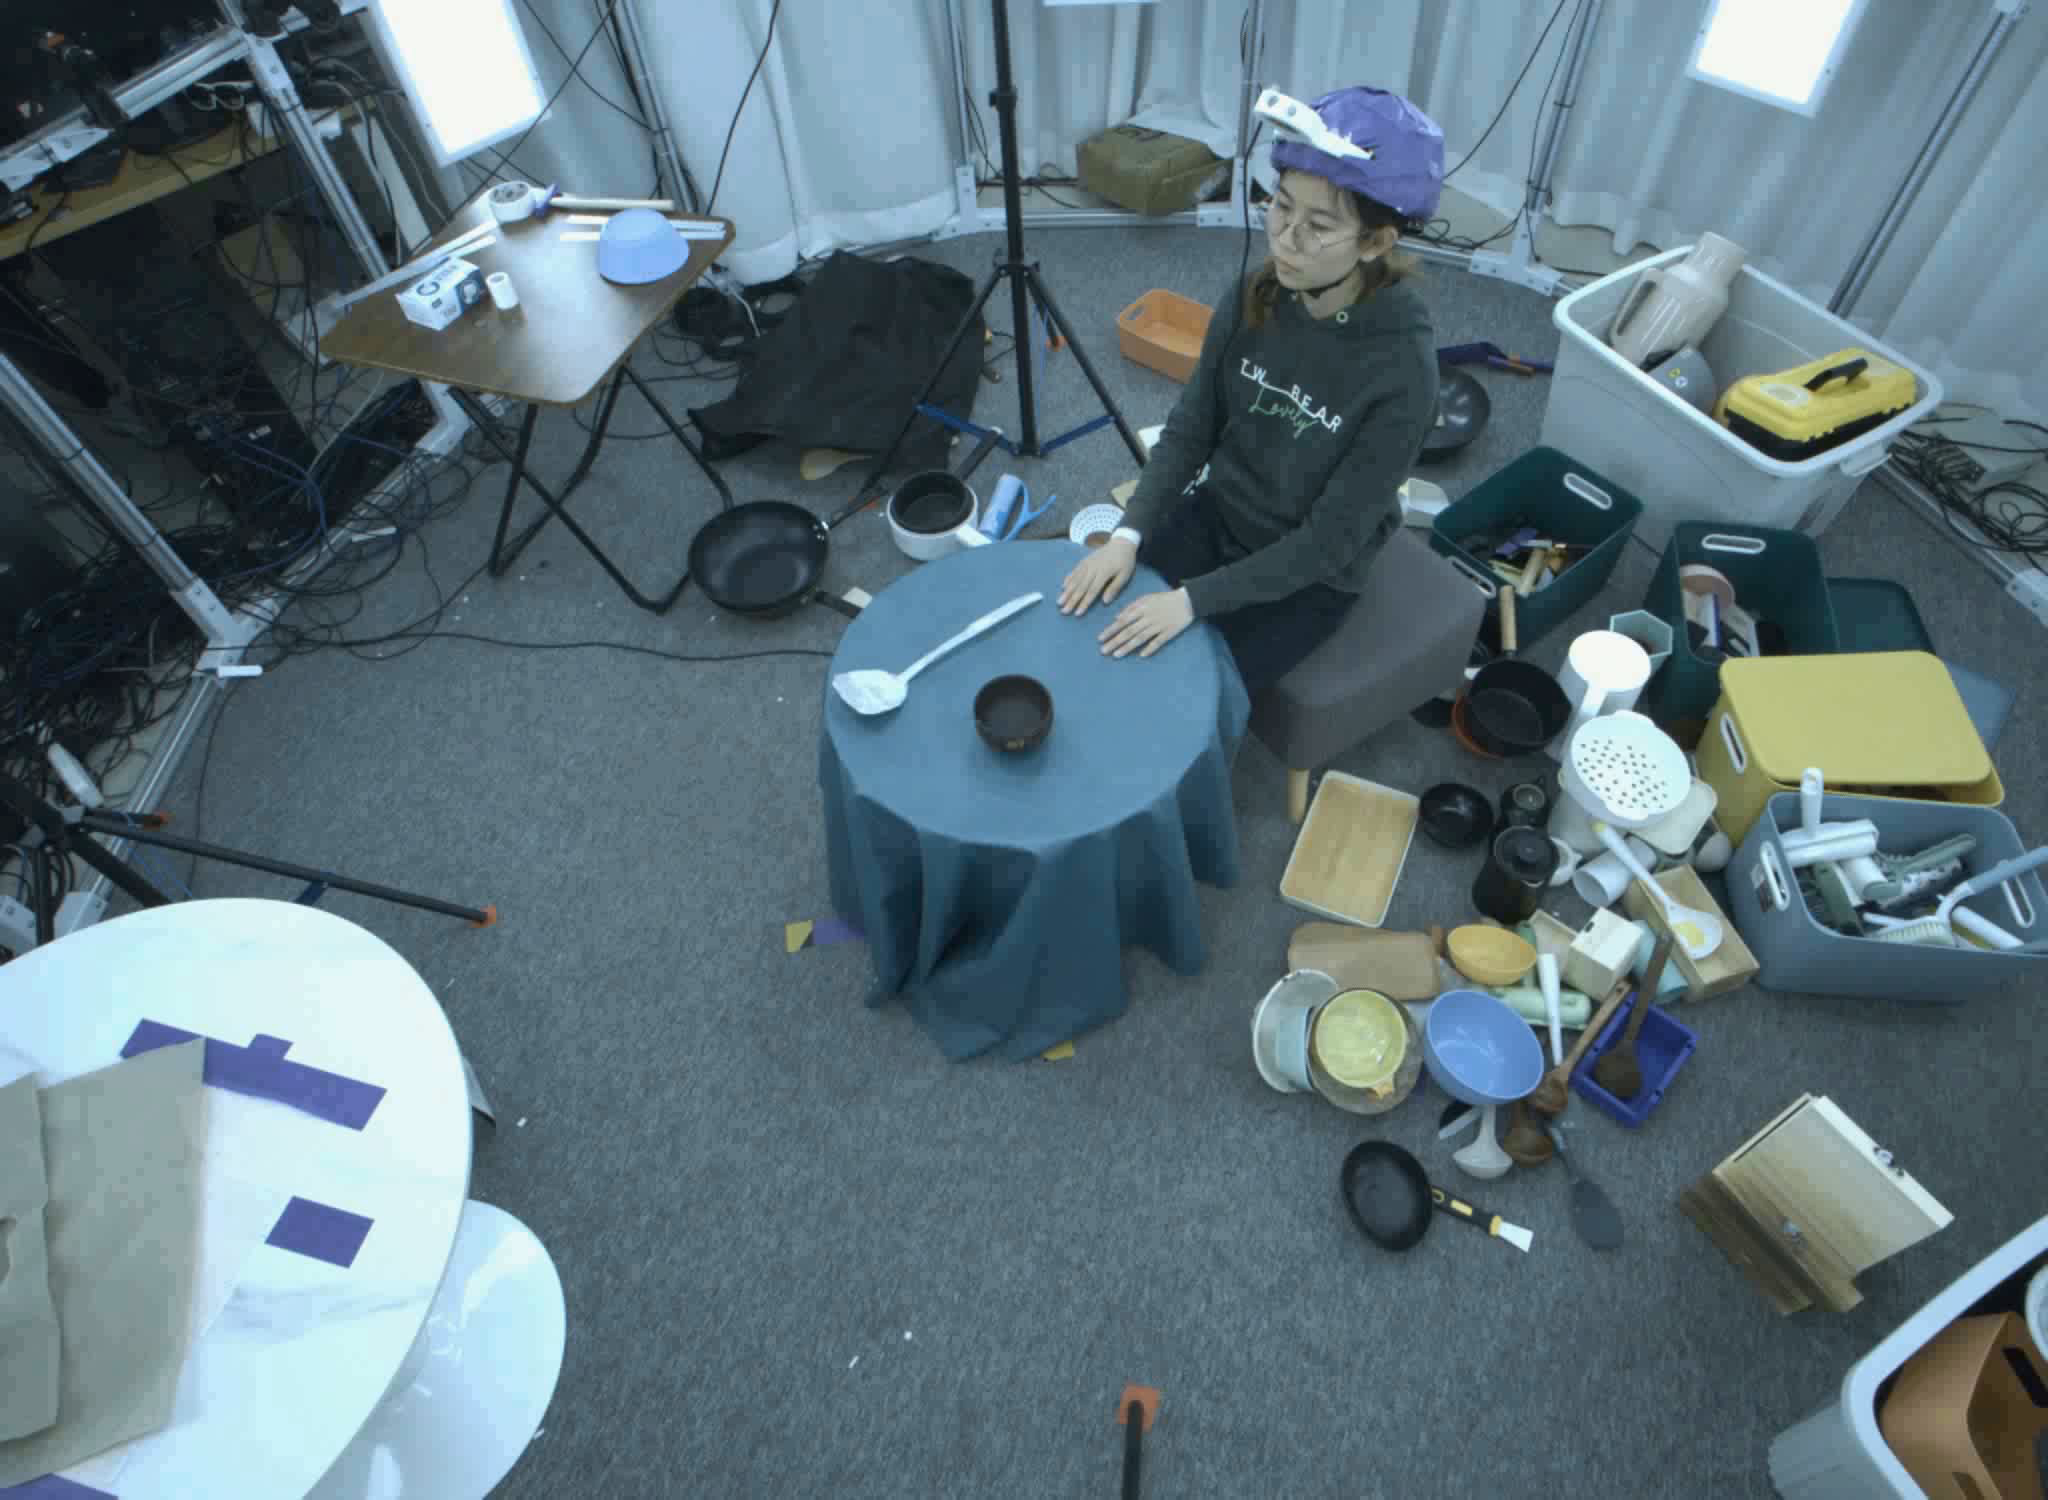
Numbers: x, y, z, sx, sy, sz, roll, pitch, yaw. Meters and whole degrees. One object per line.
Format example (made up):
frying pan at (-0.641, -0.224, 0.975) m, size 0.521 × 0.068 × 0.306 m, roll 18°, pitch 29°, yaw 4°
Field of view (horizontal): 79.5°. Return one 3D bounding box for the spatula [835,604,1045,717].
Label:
spatula at (-0.120, -0.152, 1.885) m, size 0.368 × 0.045 × 0.097 m, roll -33°, pitch 58°, yaw -19°

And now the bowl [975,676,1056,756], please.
bowl at (-0.012, -0.041, 1.783) m, size 0.118 × 0.070 × 0.117 m, roll 0°, pitch 56°, yaw 1°
